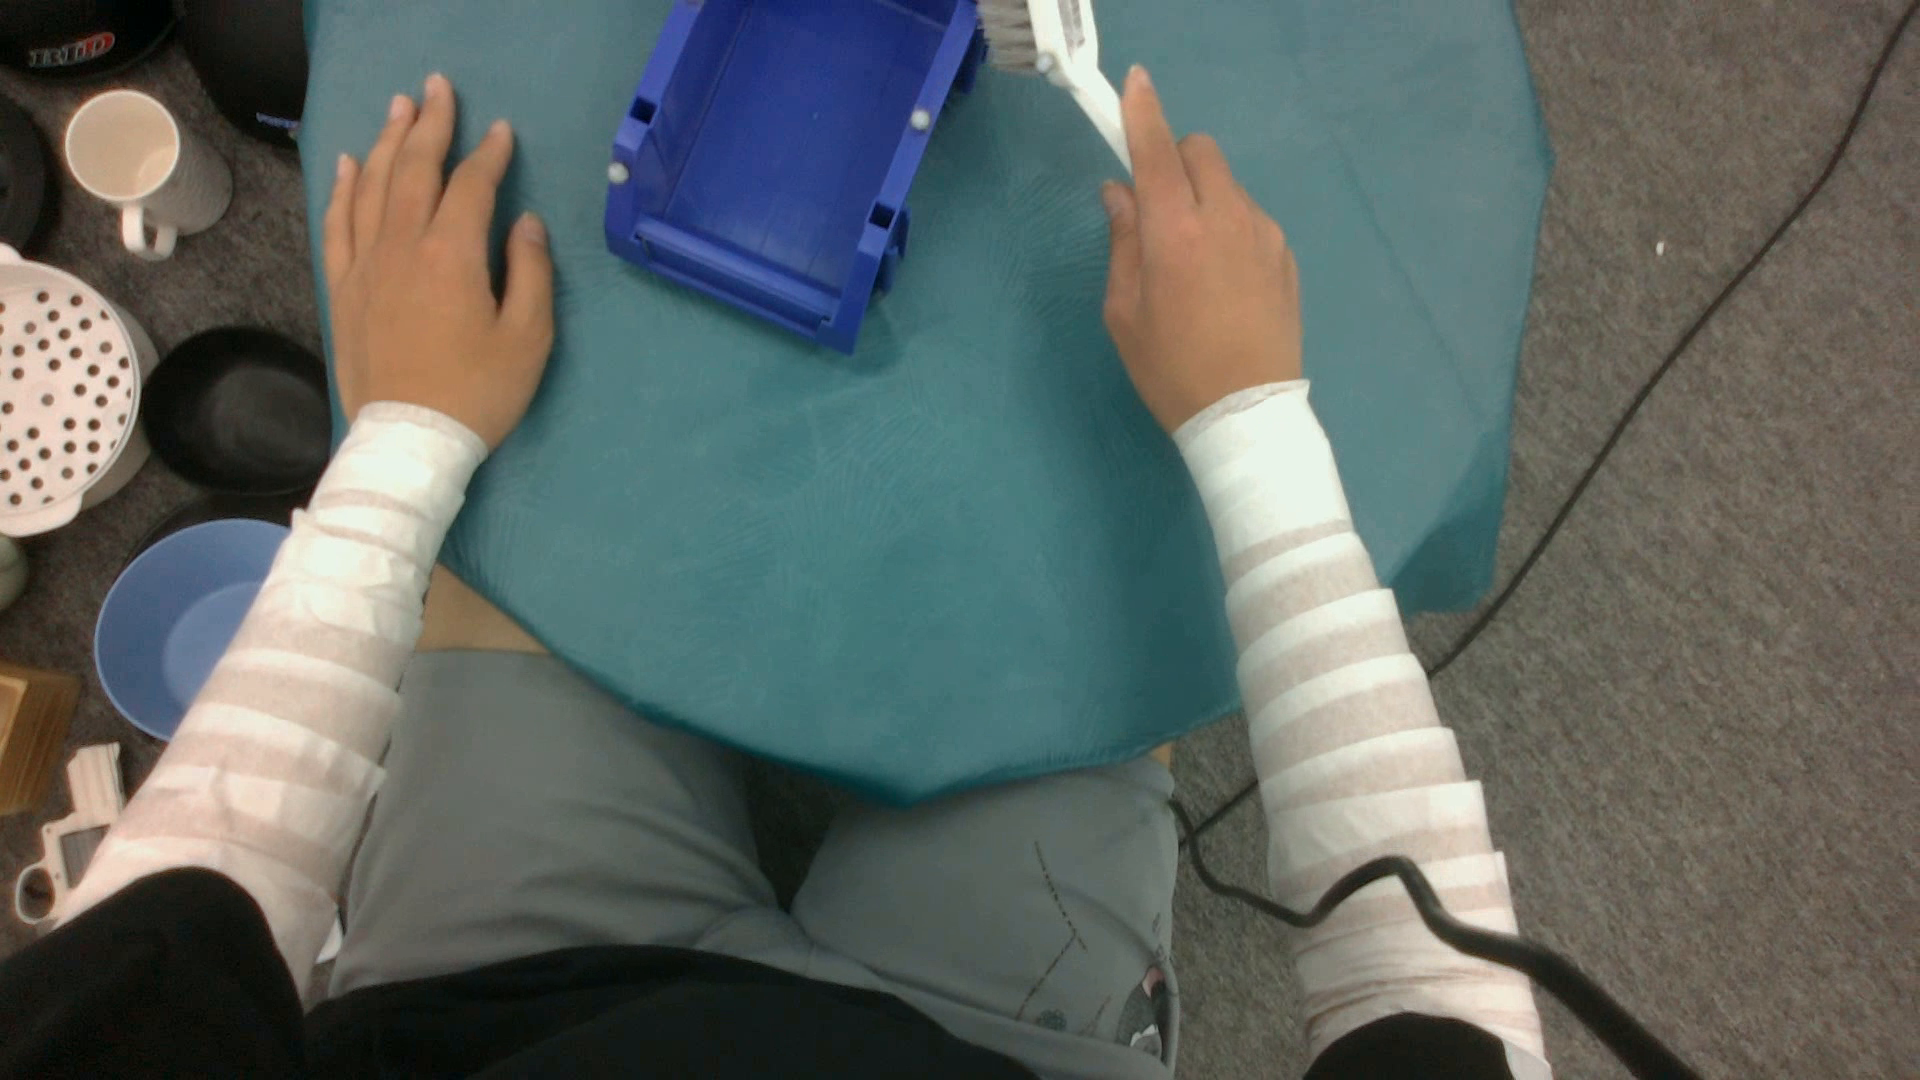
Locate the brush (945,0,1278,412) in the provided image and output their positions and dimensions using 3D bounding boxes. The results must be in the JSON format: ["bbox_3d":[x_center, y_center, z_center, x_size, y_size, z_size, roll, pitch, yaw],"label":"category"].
[{"bbox_3d":[0.071,-0.152,0.630,0.243,0.050,0.034,53,49,-23],"label":"brush"}]

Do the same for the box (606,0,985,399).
[{"bbox_3d":[-0.072,-0.173,0.641,0.124,0.082,0.179,23,82,-3],"label":"box"}]
